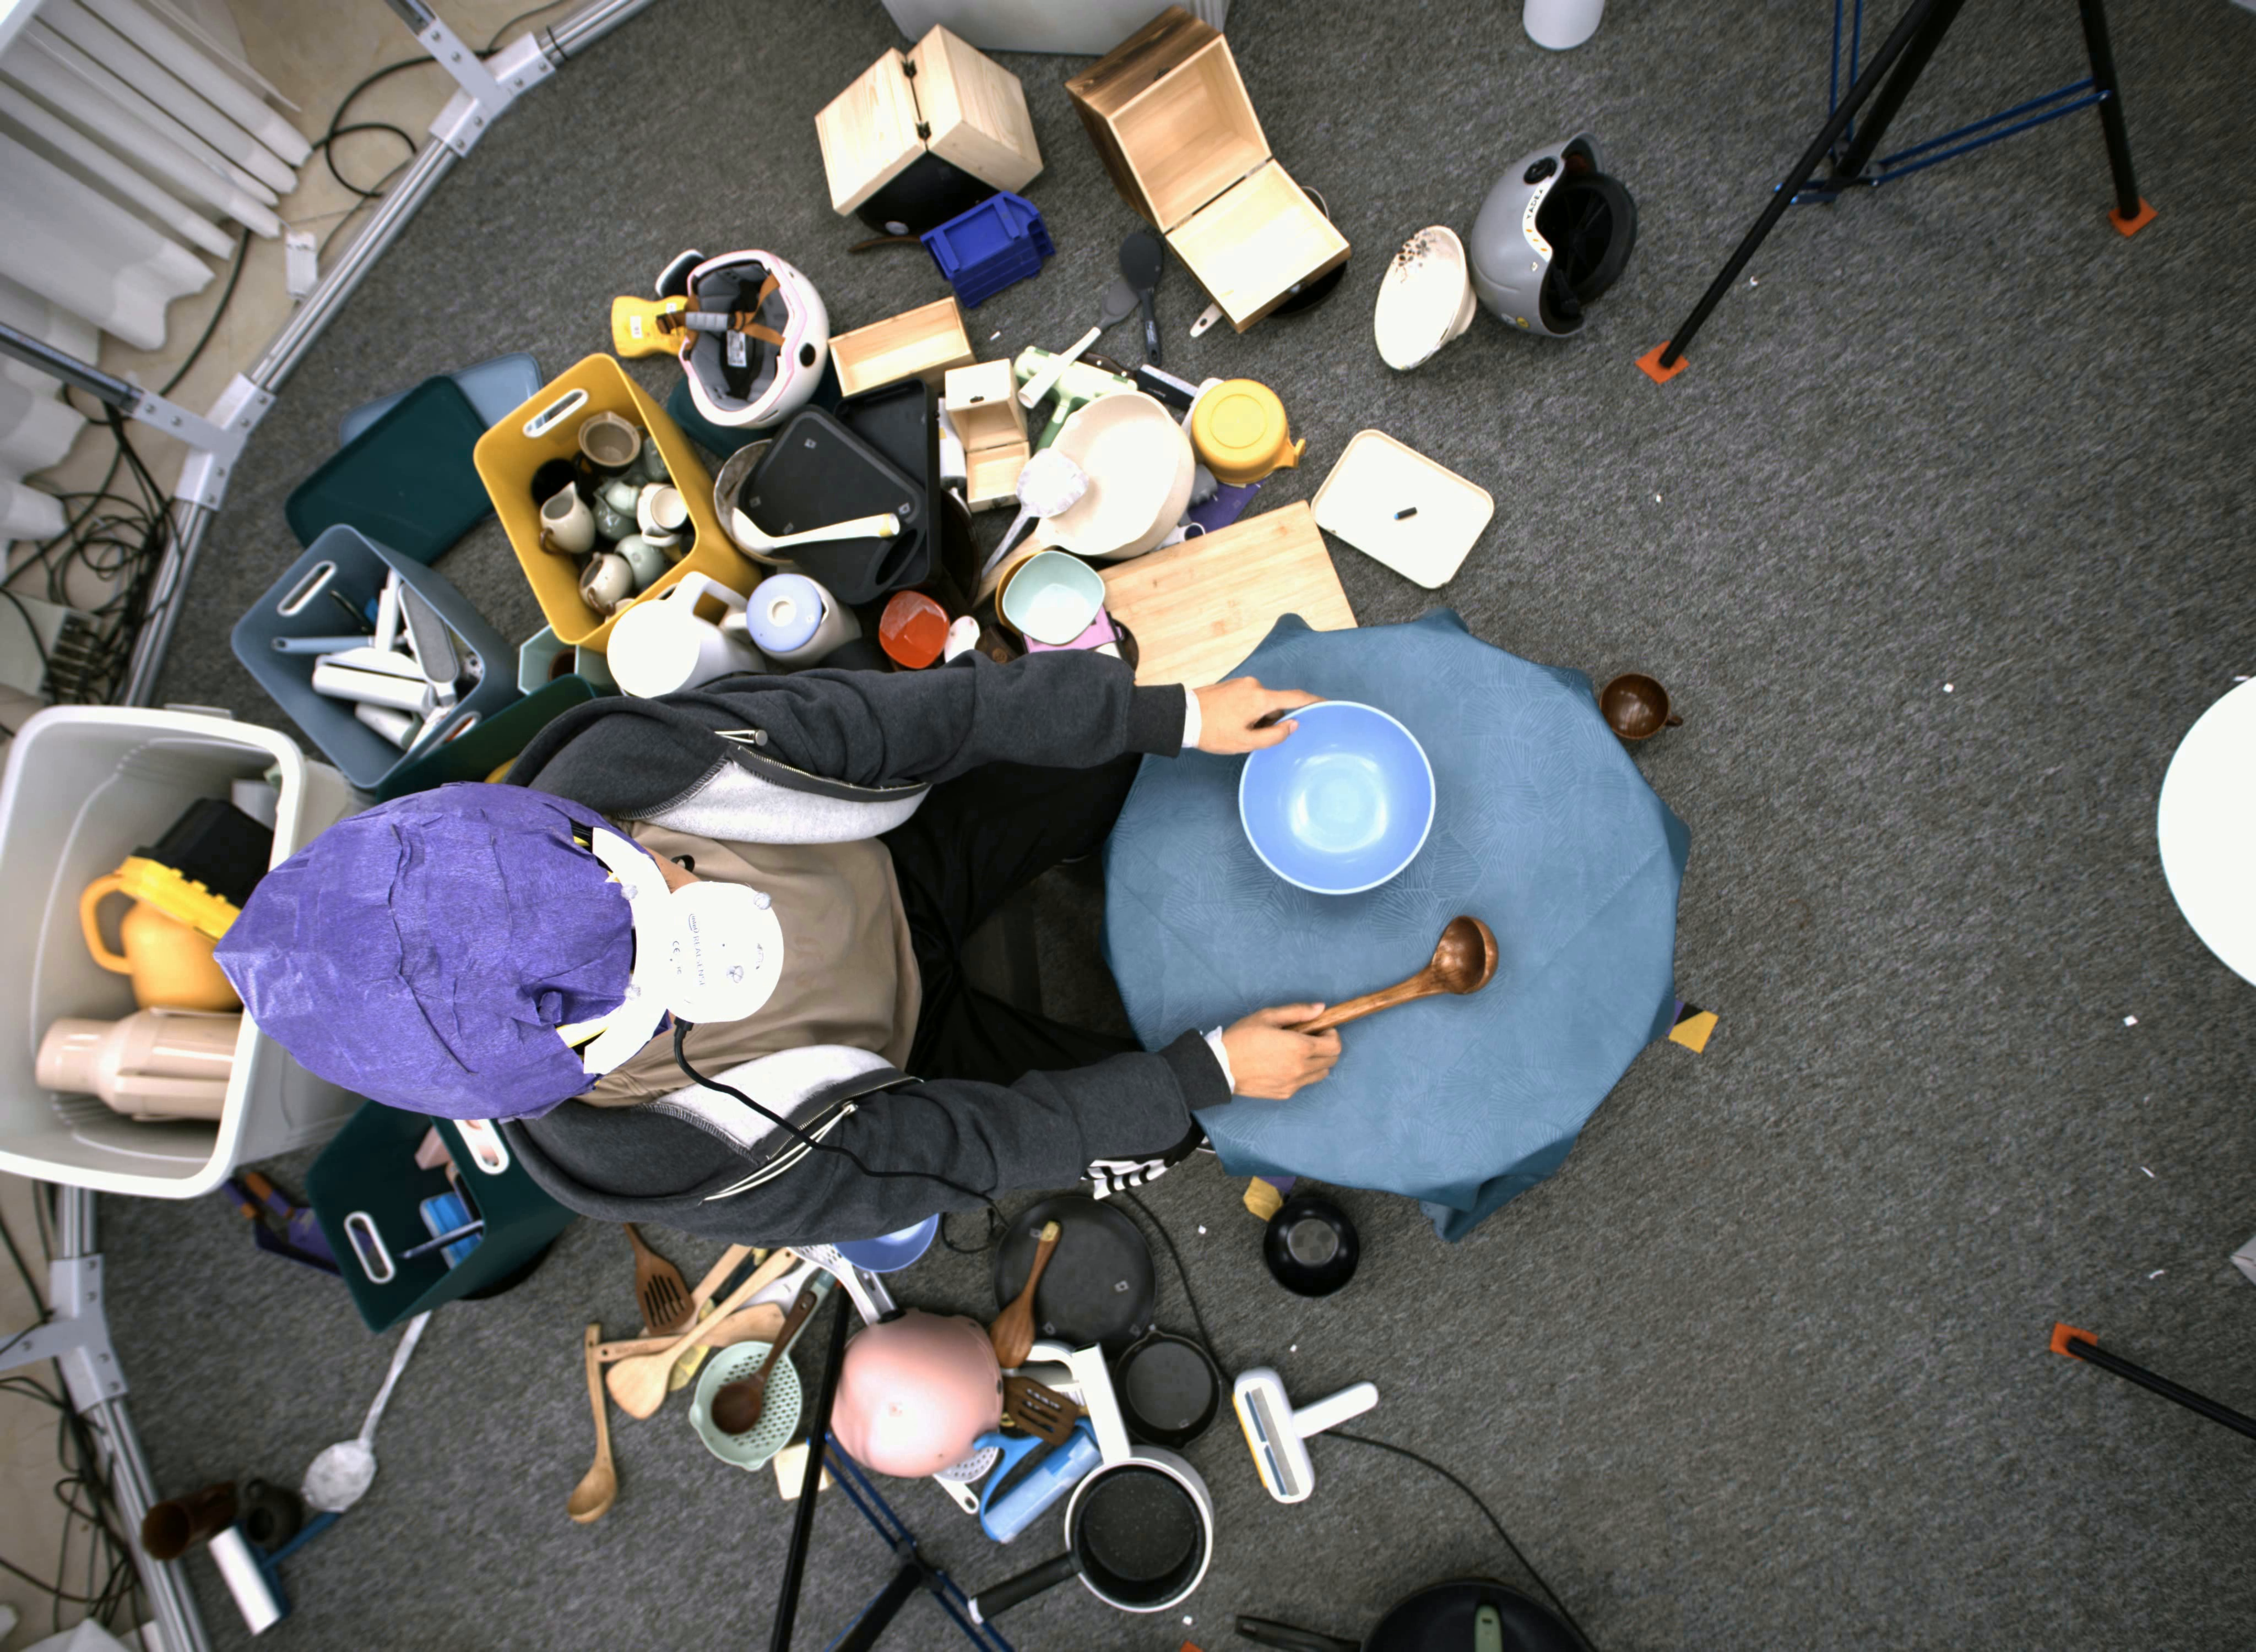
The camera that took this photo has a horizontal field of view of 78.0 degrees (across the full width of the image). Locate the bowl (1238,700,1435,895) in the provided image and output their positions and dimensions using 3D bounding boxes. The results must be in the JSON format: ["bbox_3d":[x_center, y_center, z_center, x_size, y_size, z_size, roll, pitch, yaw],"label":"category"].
[{"bbox_3d":[0.216,-0.026,1.427,0.197,0.095,0.196,-1,87,11],"label":"bowl"}]

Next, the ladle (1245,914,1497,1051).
[{"bbox_3d":[0.245,0.166,1.418,0.275,0.078,0.080,-19,47,7],"label":"ladle"}]
